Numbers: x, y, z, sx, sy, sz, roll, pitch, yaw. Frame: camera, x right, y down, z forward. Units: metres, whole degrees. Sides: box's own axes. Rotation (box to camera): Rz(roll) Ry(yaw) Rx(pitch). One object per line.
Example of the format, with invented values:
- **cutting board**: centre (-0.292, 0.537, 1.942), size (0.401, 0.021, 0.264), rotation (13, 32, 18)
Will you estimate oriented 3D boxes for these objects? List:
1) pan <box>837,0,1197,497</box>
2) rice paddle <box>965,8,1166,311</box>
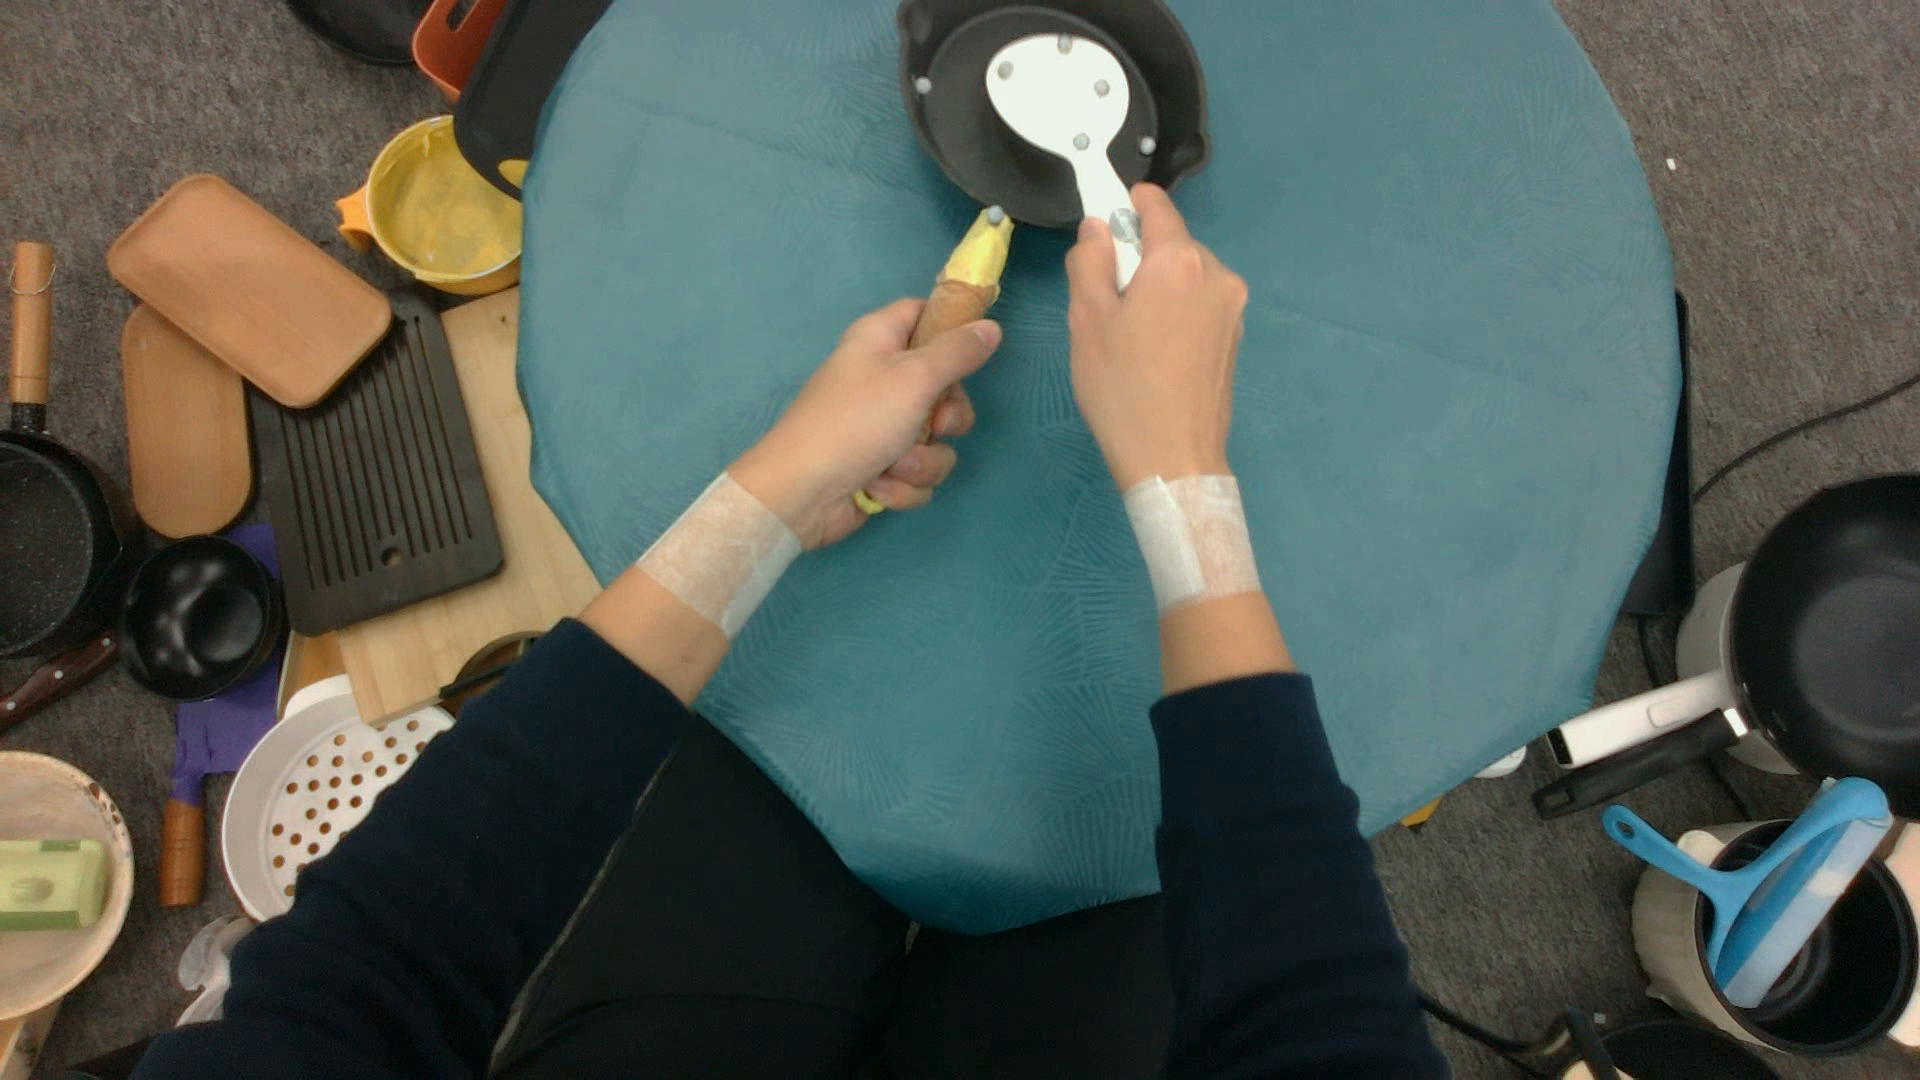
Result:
- **pan**: centre (0.009, -0.158, 0.660), size (0.169, 0.049, 0.325), rotation (27, 69, -6)
- **rice paddle**: centre (0.051, -0.195, 0.660), size (0.069, 0.029, 0.206), rotation (-10, 58, -10)
